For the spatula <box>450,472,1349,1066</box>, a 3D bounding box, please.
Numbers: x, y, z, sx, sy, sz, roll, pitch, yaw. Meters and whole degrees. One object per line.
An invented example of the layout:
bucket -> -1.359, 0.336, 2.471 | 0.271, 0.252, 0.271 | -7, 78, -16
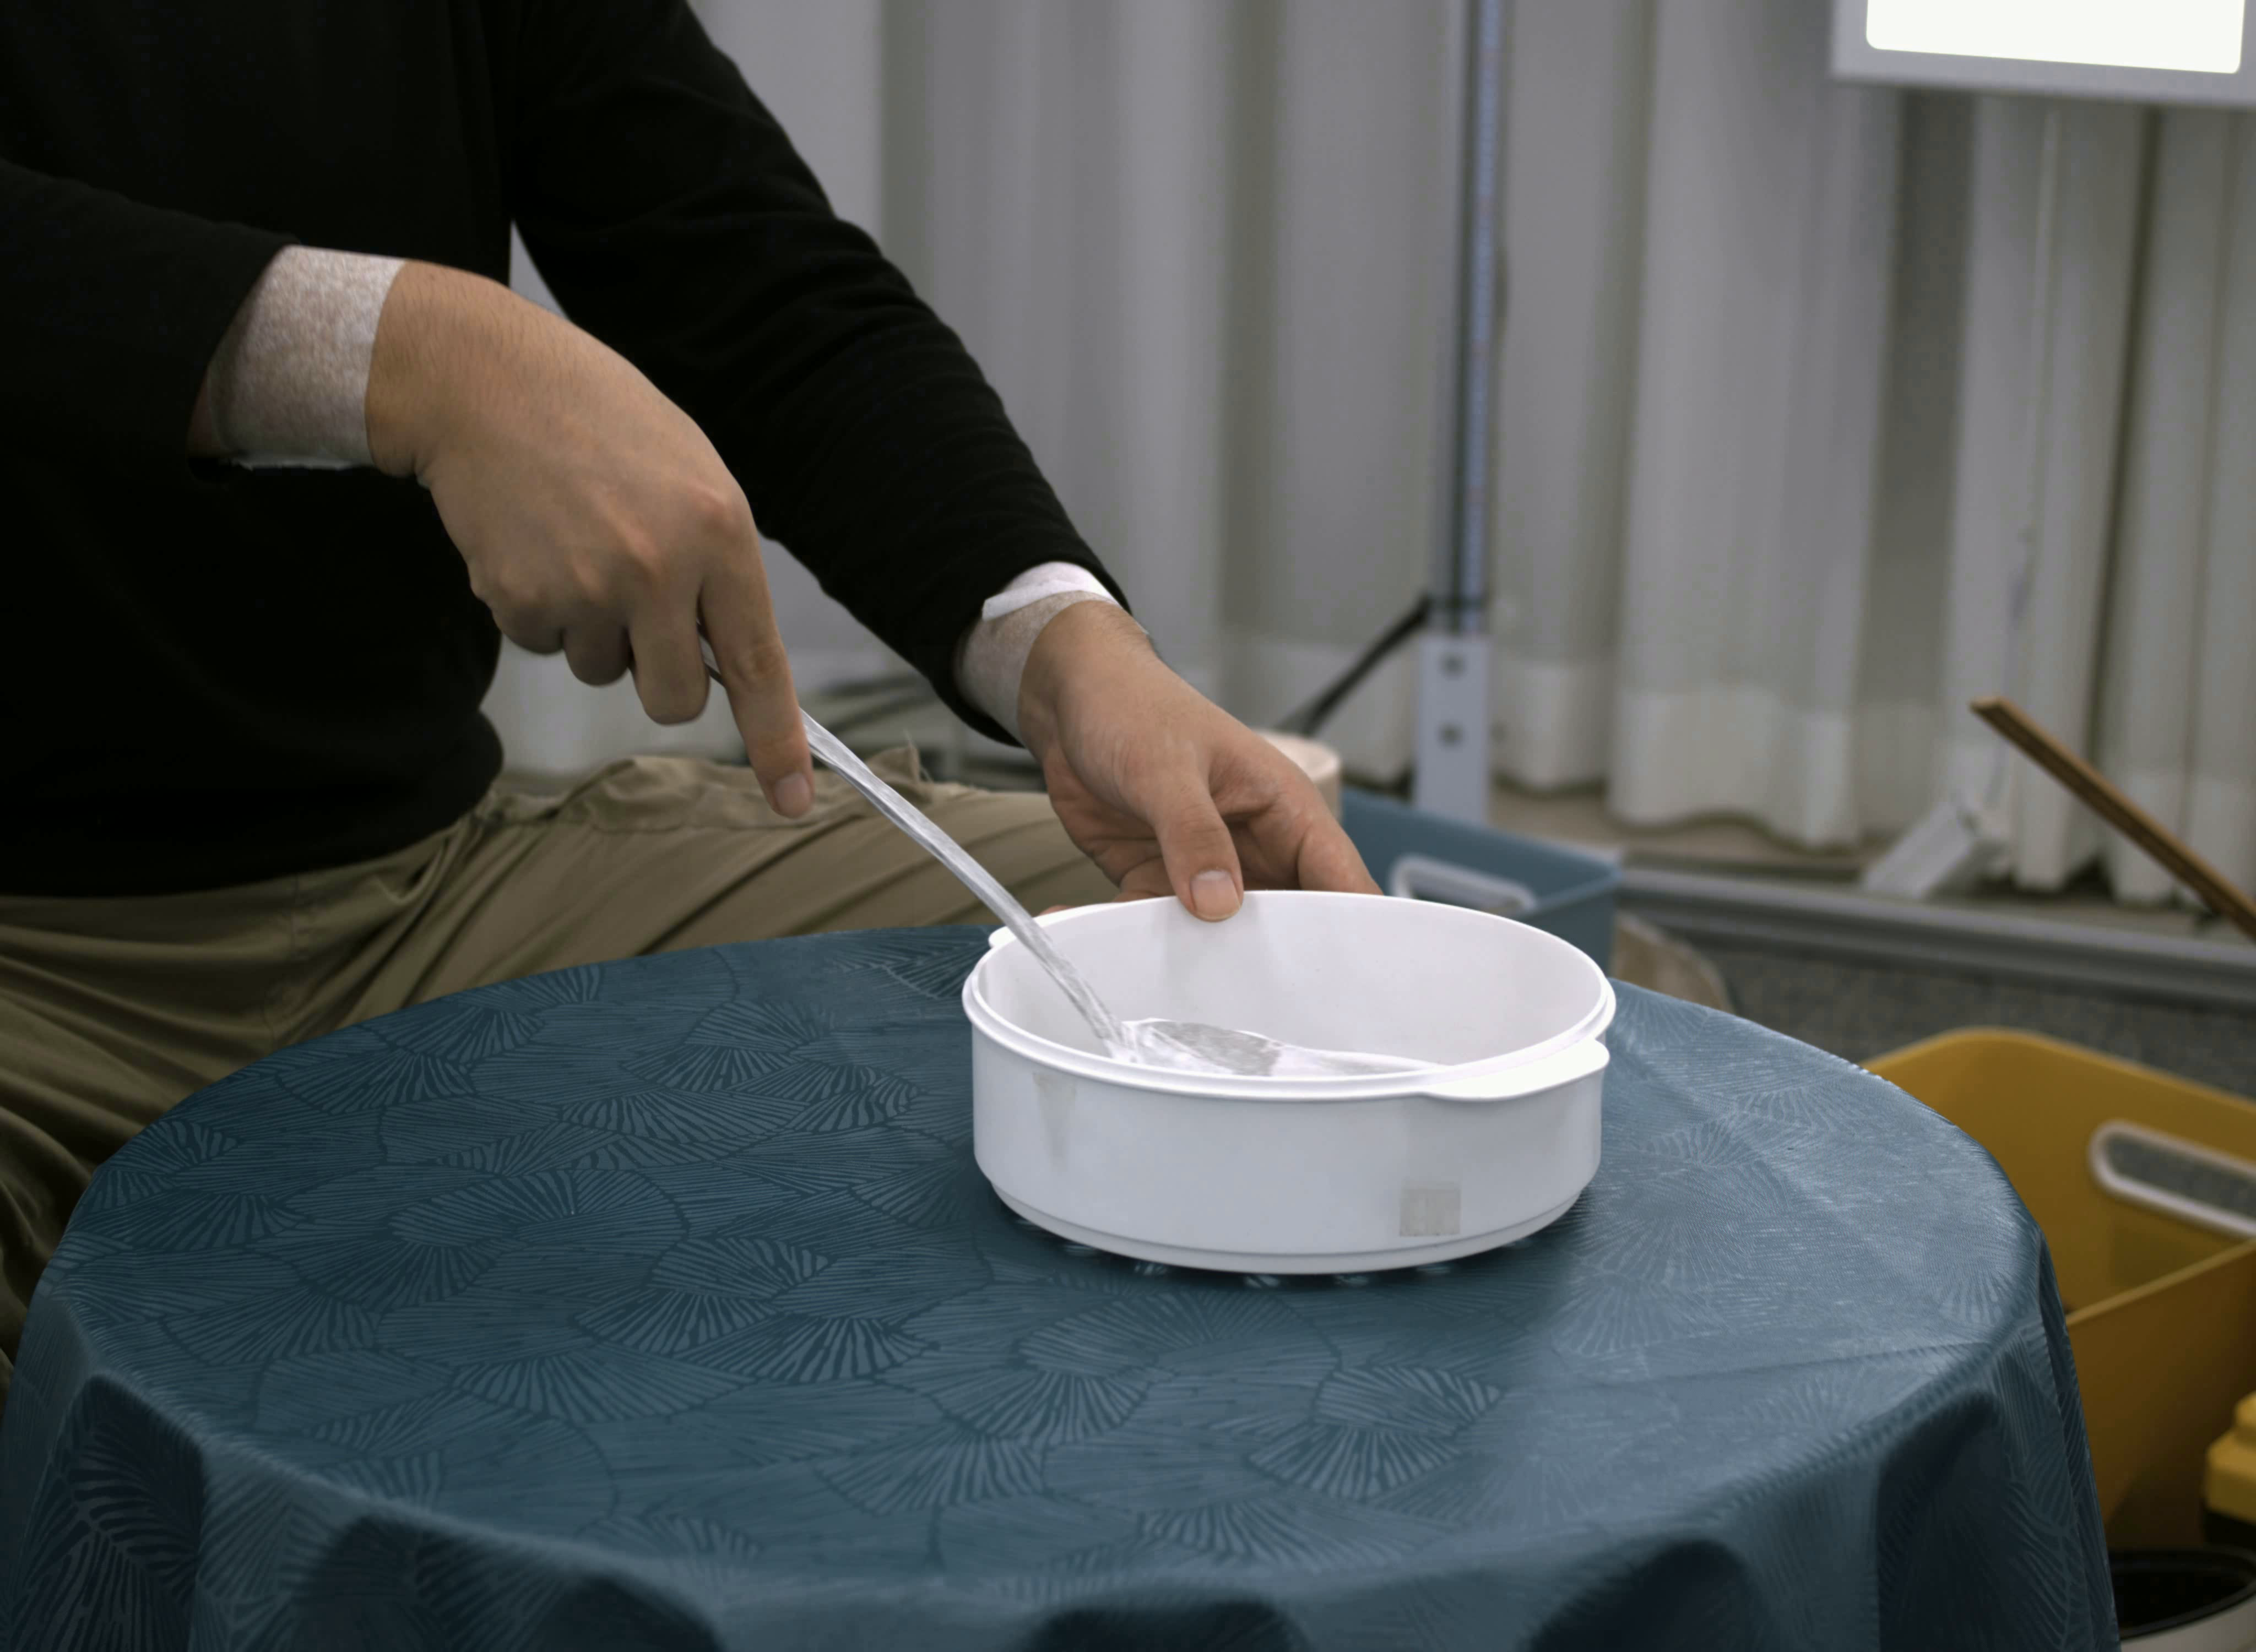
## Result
spatula -> -0.058, 0.000, 1.601 | 0.366, 0.045, 0.098 | 41, 24, -6

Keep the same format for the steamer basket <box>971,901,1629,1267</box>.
steamer basket -> 0.052, 0.079, 1.613 | 0.203, 0.070, 0.227 | -12, 18, -41
